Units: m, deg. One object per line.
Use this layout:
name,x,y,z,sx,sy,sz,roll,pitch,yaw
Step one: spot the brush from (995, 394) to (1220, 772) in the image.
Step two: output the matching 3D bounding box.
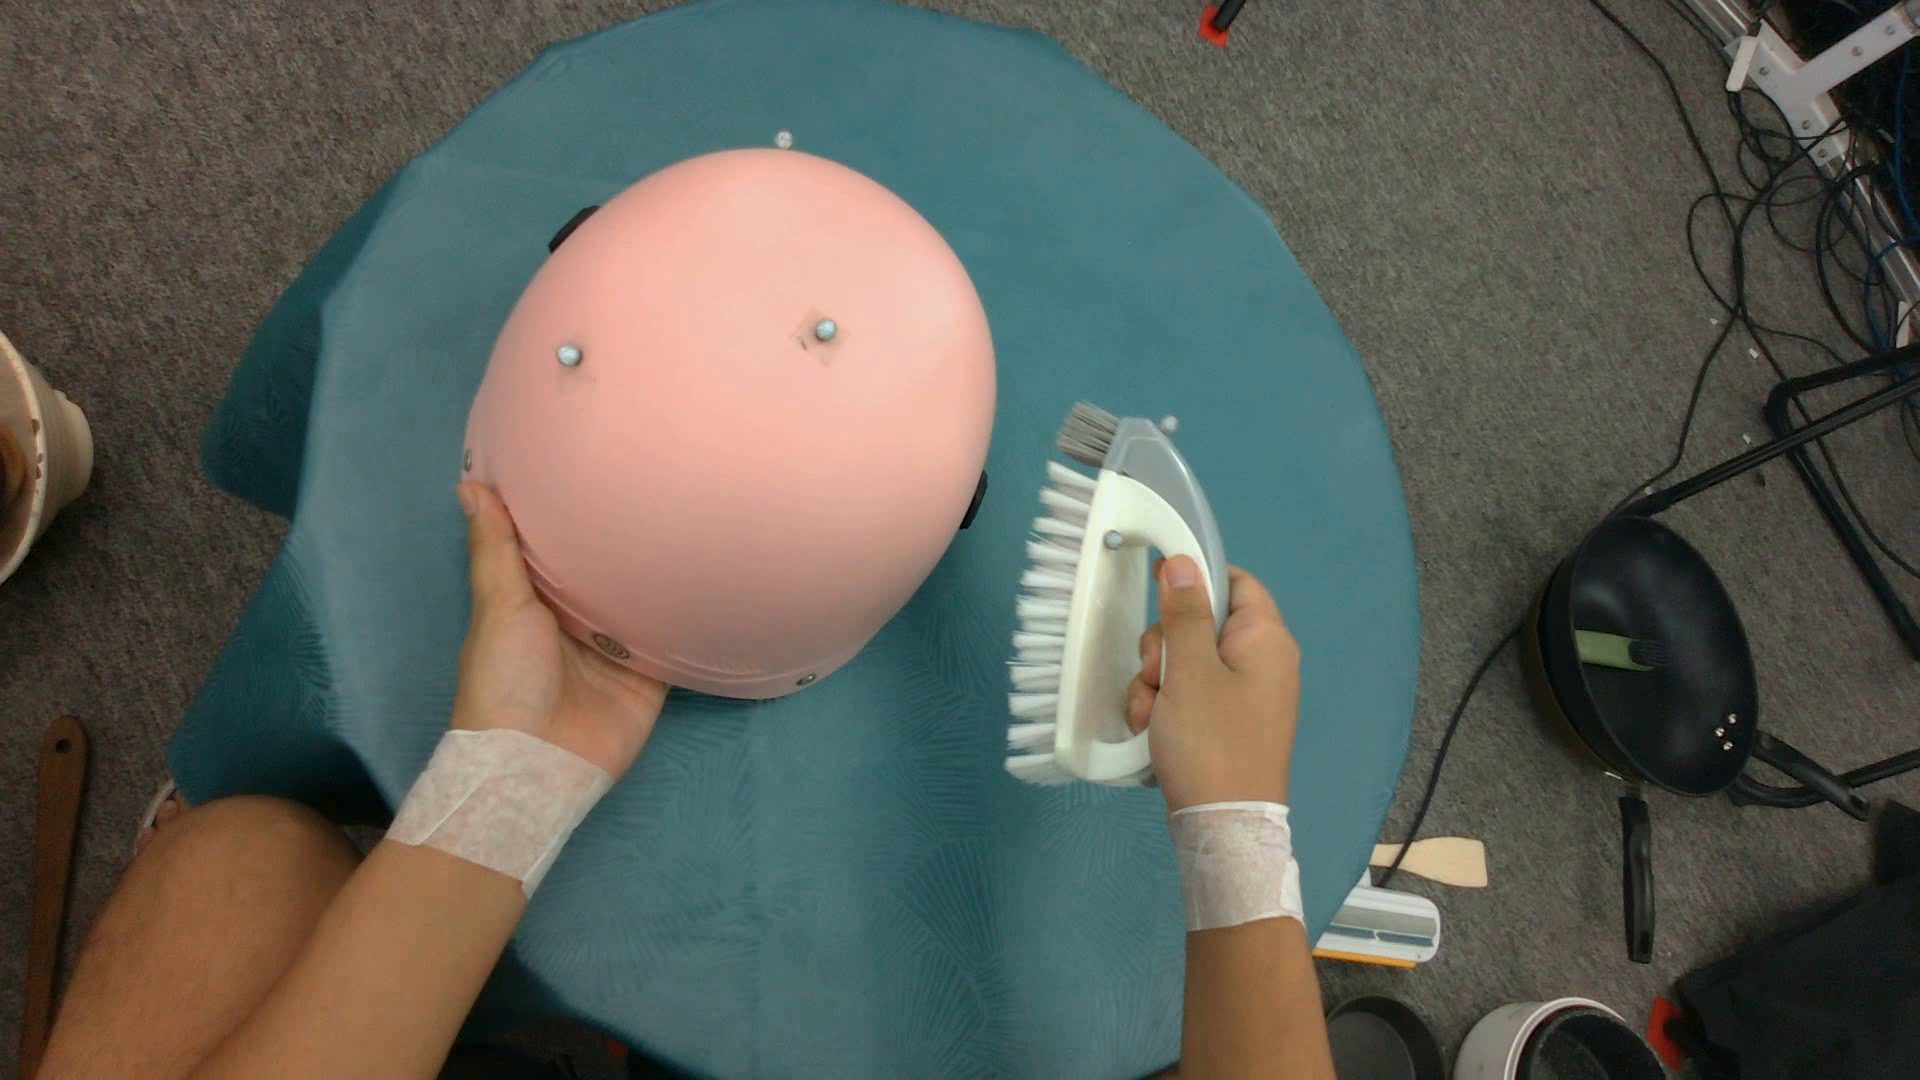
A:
brush,0.068,0.015,0.603,0.061,0.094,0.176,32,61,-56

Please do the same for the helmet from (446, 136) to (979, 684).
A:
helmet,-0.087,-0.080,0.605,0.234,0.158,0.267,32,58,-11
